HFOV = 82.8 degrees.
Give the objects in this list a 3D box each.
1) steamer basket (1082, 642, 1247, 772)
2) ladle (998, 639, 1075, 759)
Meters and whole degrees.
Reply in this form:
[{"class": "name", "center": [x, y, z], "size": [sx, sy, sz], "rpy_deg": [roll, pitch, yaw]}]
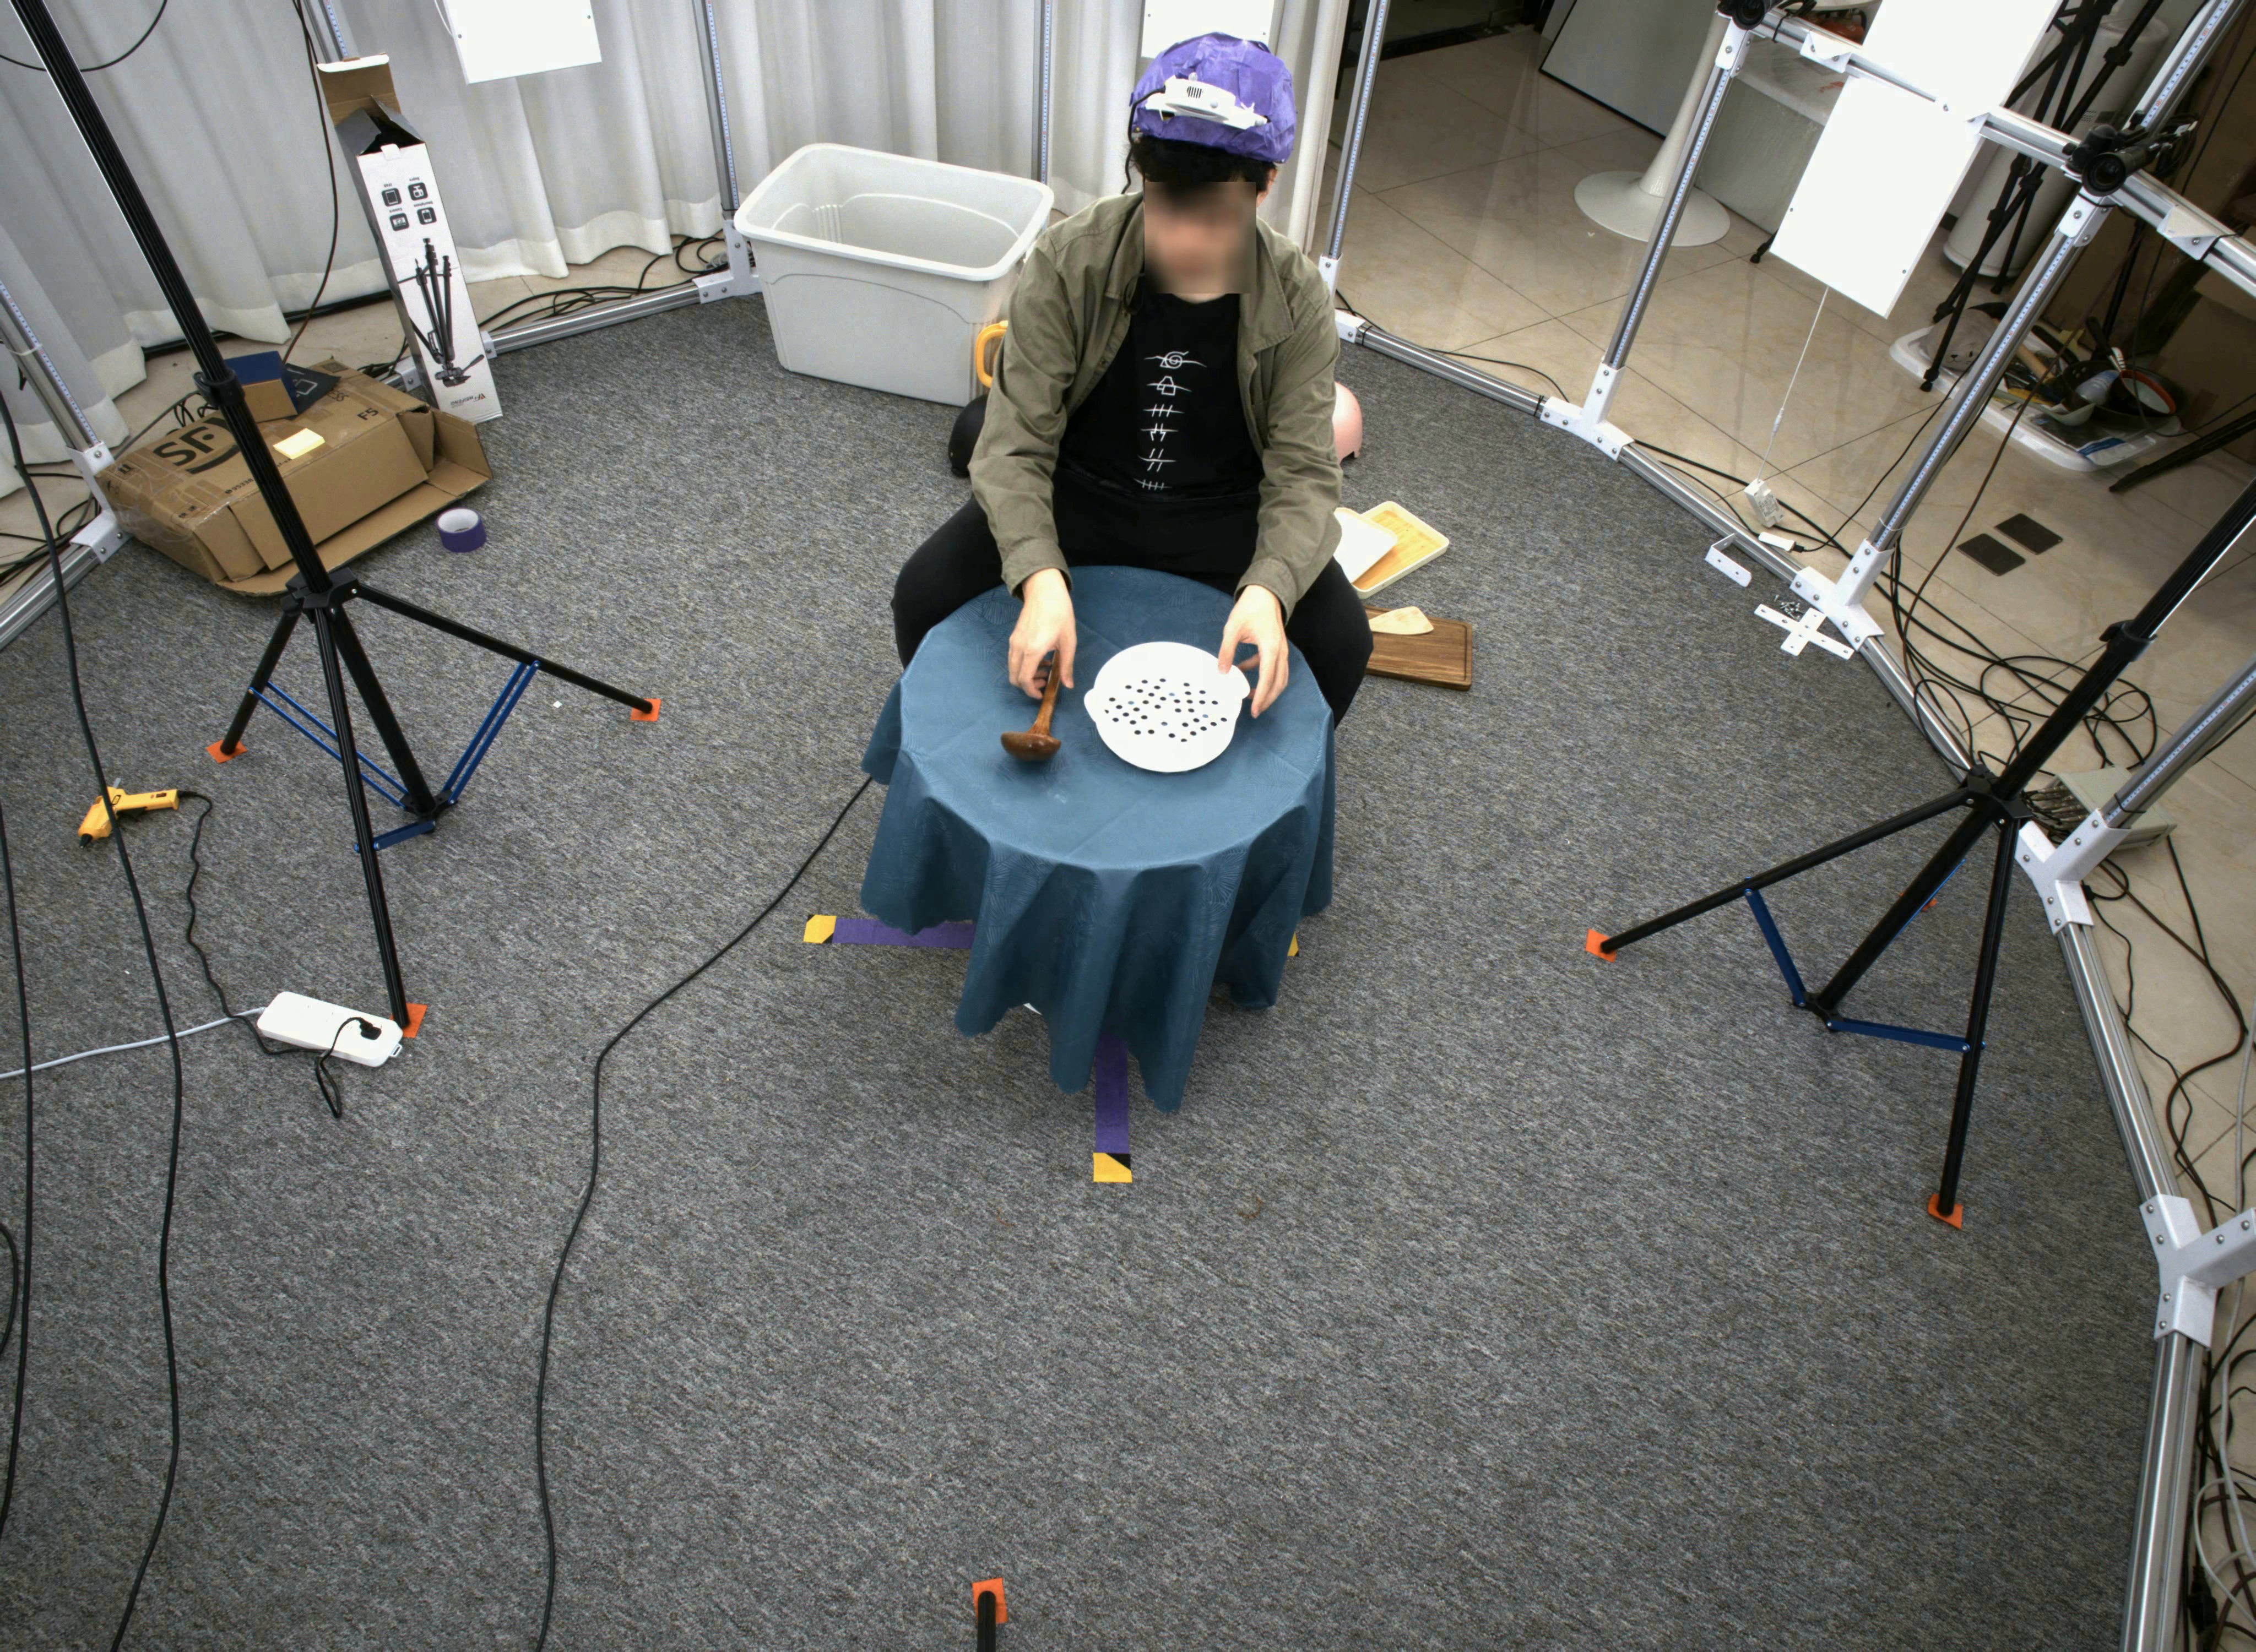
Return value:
[{"class": "steamer basket", "center": [0.048, -0.162, 1.760], "size": [0.230, 0.067, 0.207], "rpy_deg": [-11, 51, -16]}, {"class": "ladle", "center": [-0.114, -0.191, 1.766], "size": [0.082, 0.075, 0.280], "rpy_deg": [8, 48, 5]}]
